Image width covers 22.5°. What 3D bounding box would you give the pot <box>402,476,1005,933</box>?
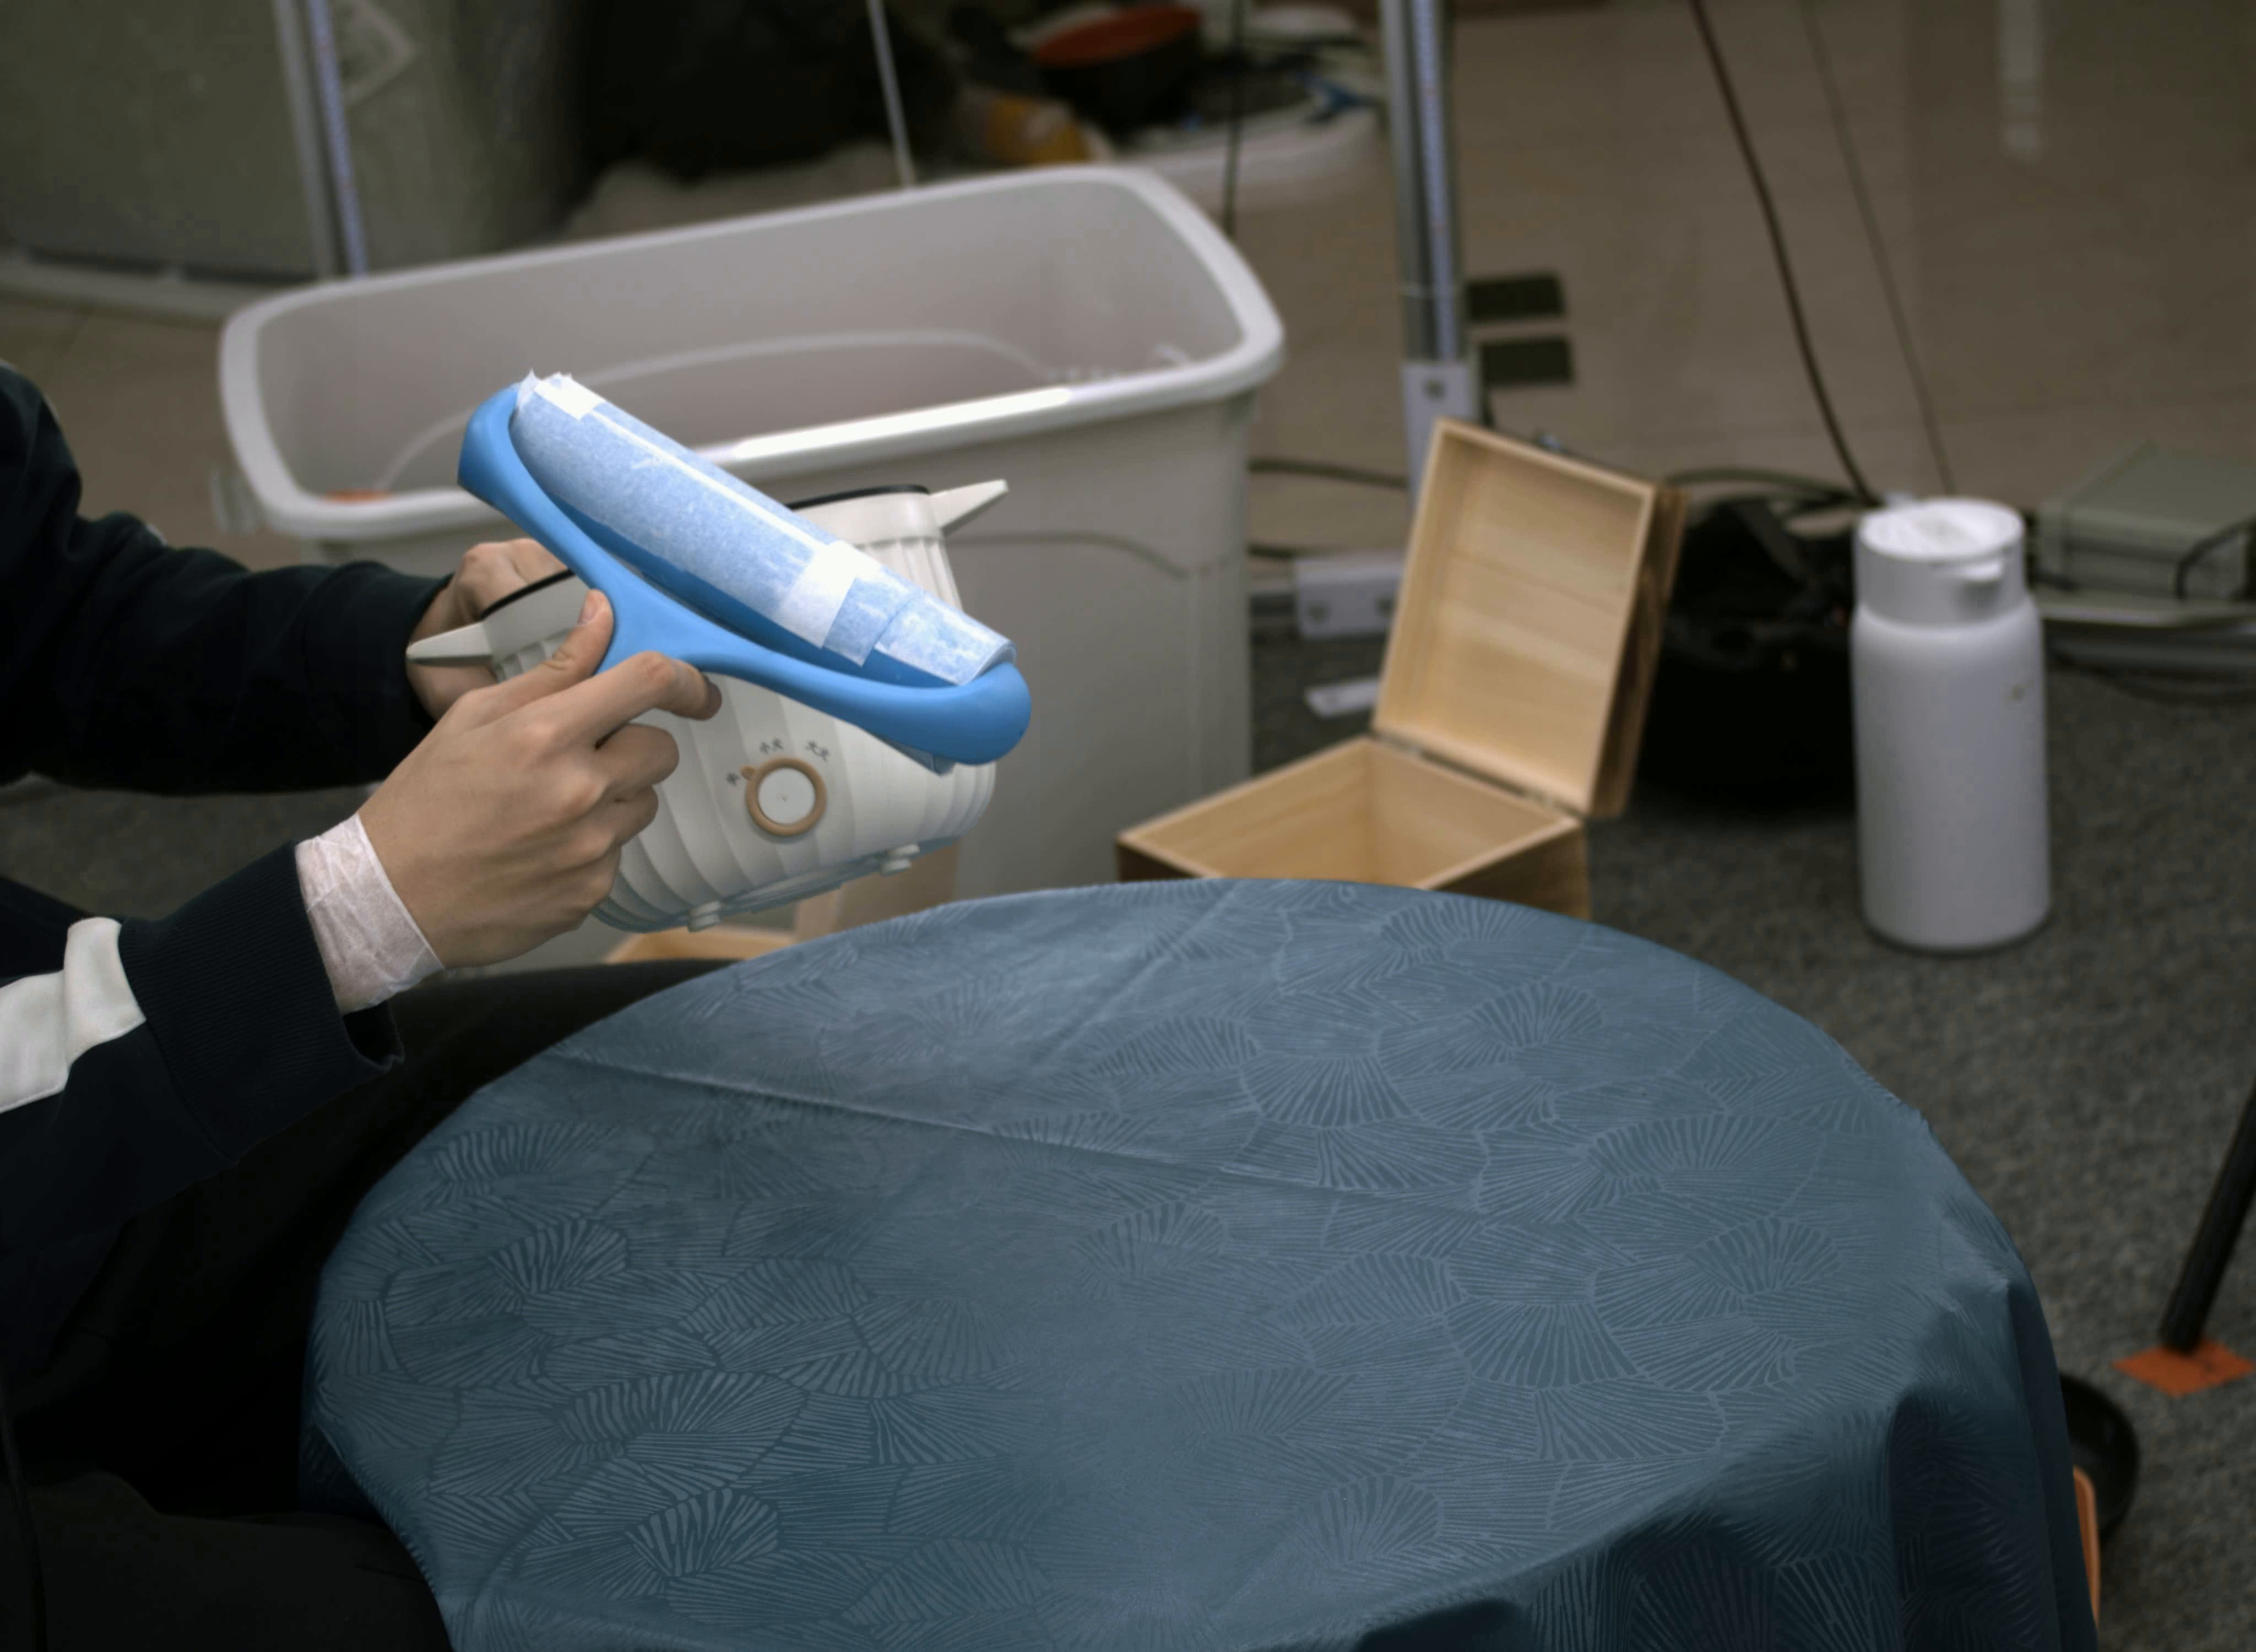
[{"bbox_3d":[-0.143,-0.042,2.159,0.240,0.142,0.191,-18,-6,-6],"label":"pot"}]

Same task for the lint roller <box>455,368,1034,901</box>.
[{"bbox_3d":[-0.161,-0.053,1.955,0.228,0.069,0.178,29,57,7],"label":"lint roller"}]
